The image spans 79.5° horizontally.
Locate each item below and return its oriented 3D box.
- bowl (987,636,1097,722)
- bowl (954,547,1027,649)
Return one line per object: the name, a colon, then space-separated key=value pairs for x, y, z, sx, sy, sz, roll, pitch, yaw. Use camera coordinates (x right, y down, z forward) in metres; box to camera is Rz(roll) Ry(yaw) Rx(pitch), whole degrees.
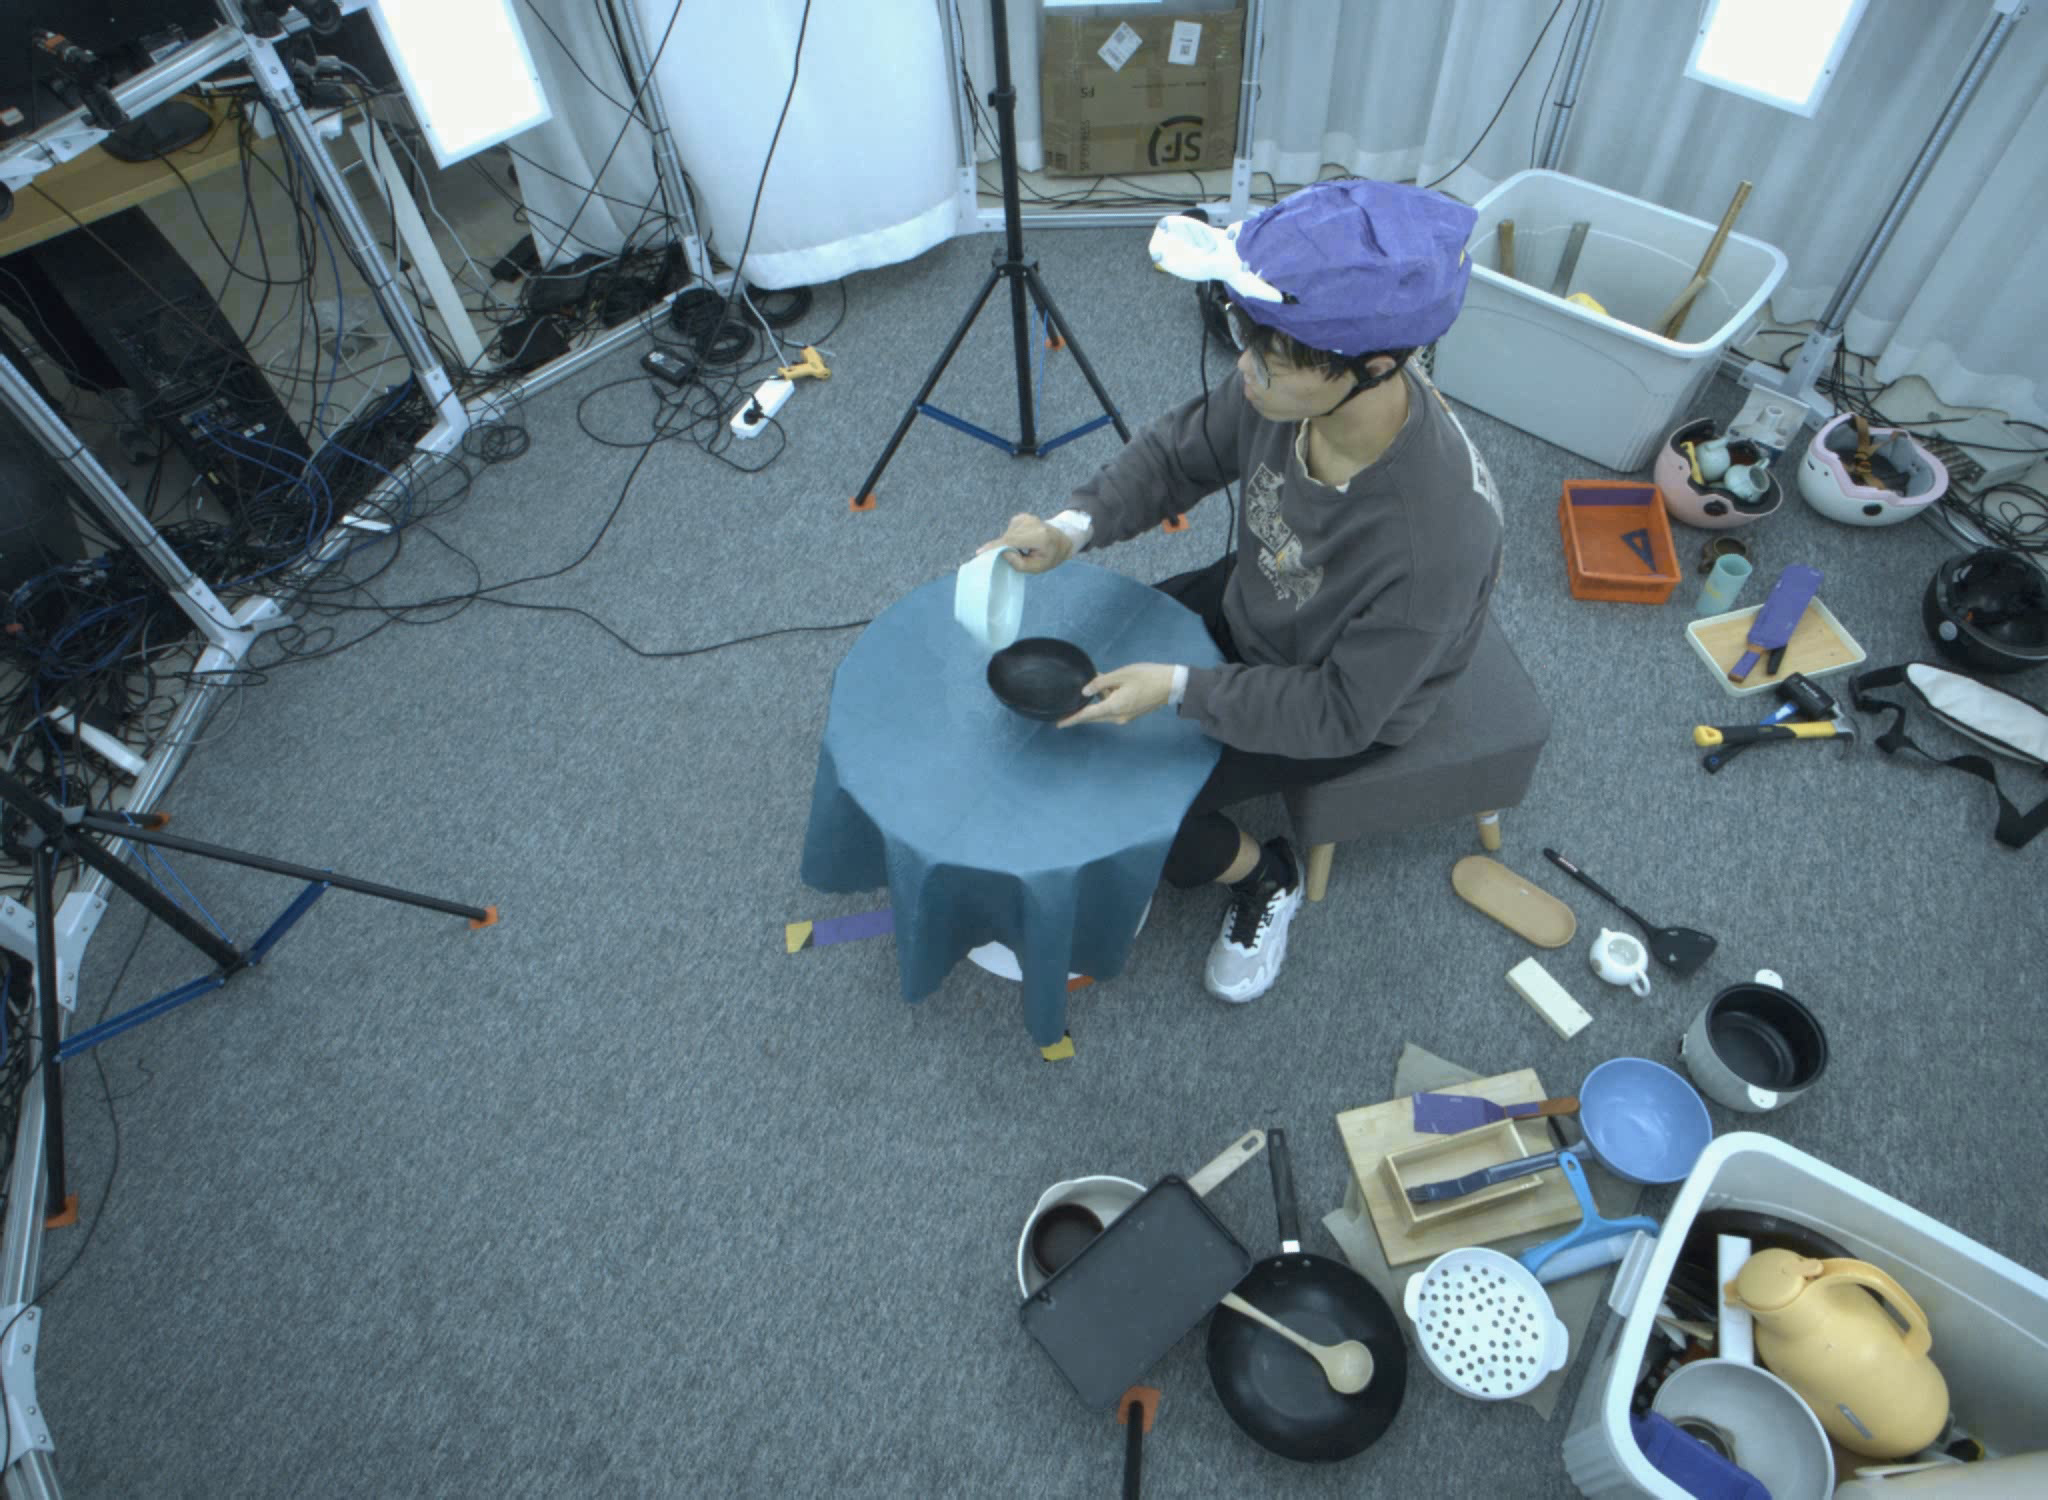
bowl: x=0.026 y=-0.091 z=1.772 sx=0.168 sy=0.067 sz=0.137 roll=21 pitch=60 yaw=20
bowl: x=-0.051 y=-0.209 z=1.664 sx=0.058 sy=0.154 sz=0.151 roll=10 pitch=56 yaw=20
